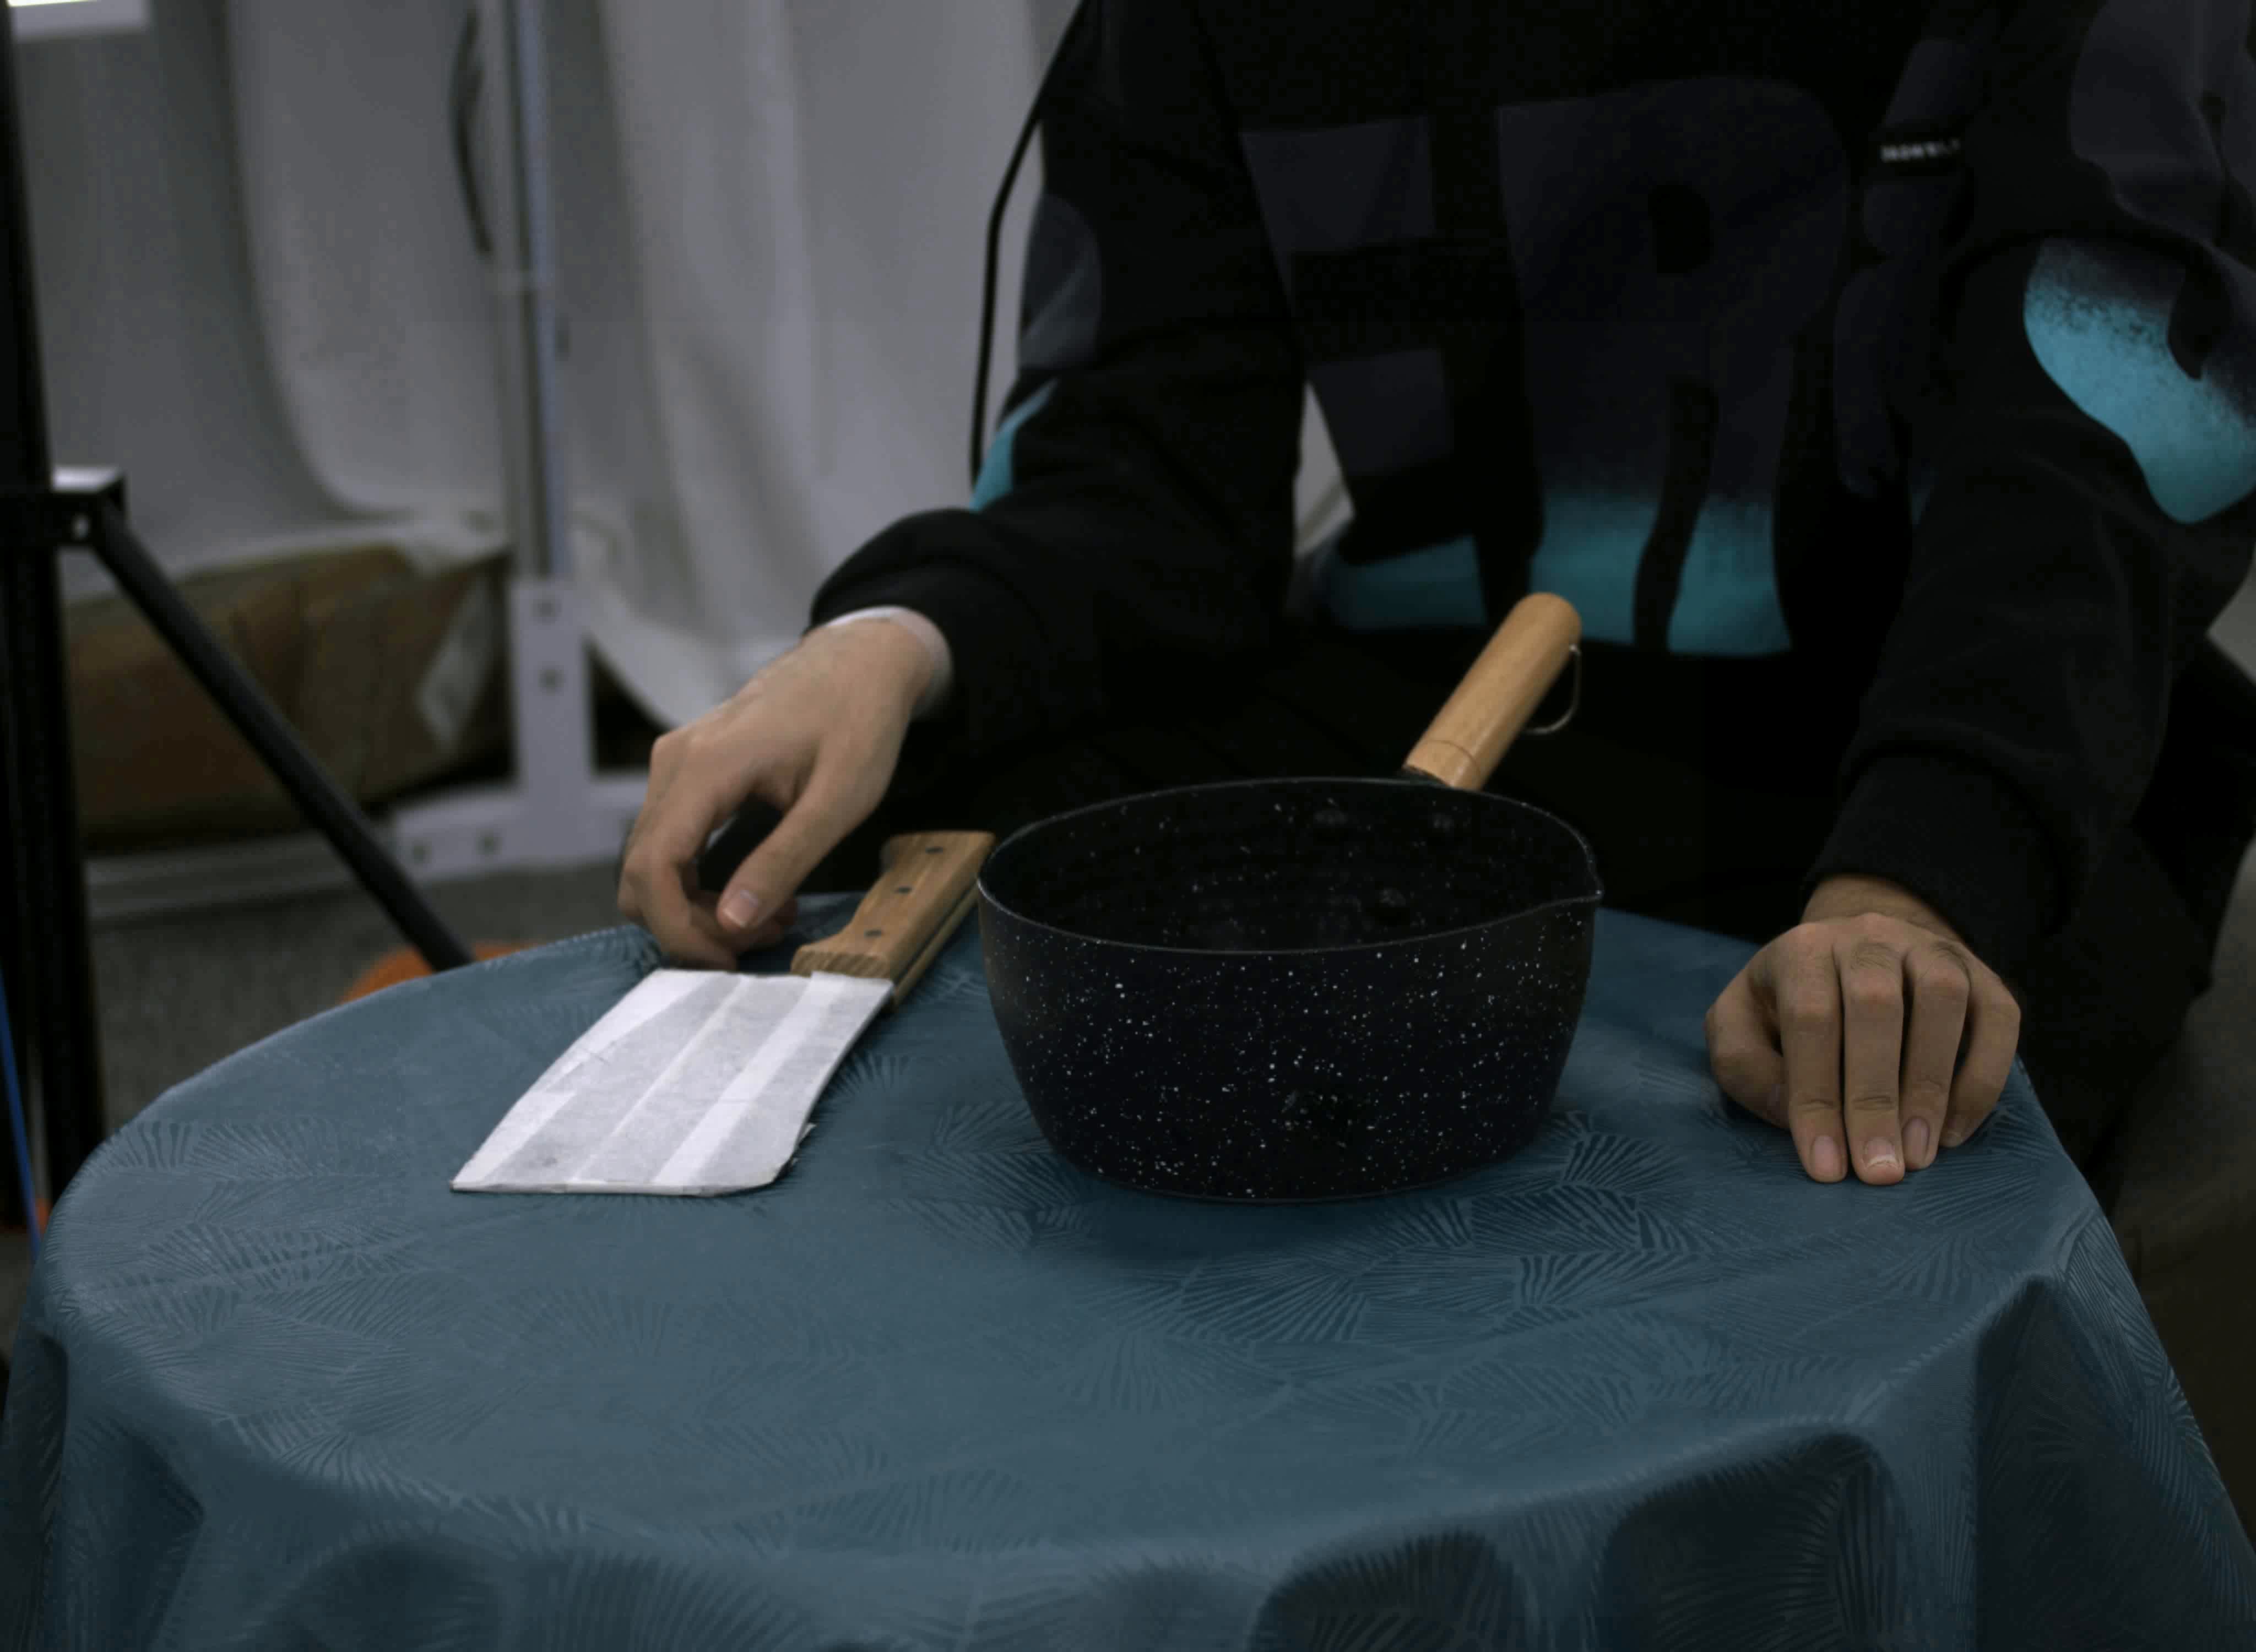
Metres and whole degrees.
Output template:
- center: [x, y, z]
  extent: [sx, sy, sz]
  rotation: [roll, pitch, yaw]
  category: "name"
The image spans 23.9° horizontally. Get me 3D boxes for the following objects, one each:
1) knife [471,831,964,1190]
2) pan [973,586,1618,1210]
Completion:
- center: [-0.114, 0.060, 1.714]
  extent: [0.115, 0.022, 0.312]
  rotation: [2, 19, 18]
  category: "knife"
- center: [0.076, 0.018, 1.663]
  extent: [0.210, 0.108, 0.338]
  rotation: [3, 18, 22]
  category: "pan"
